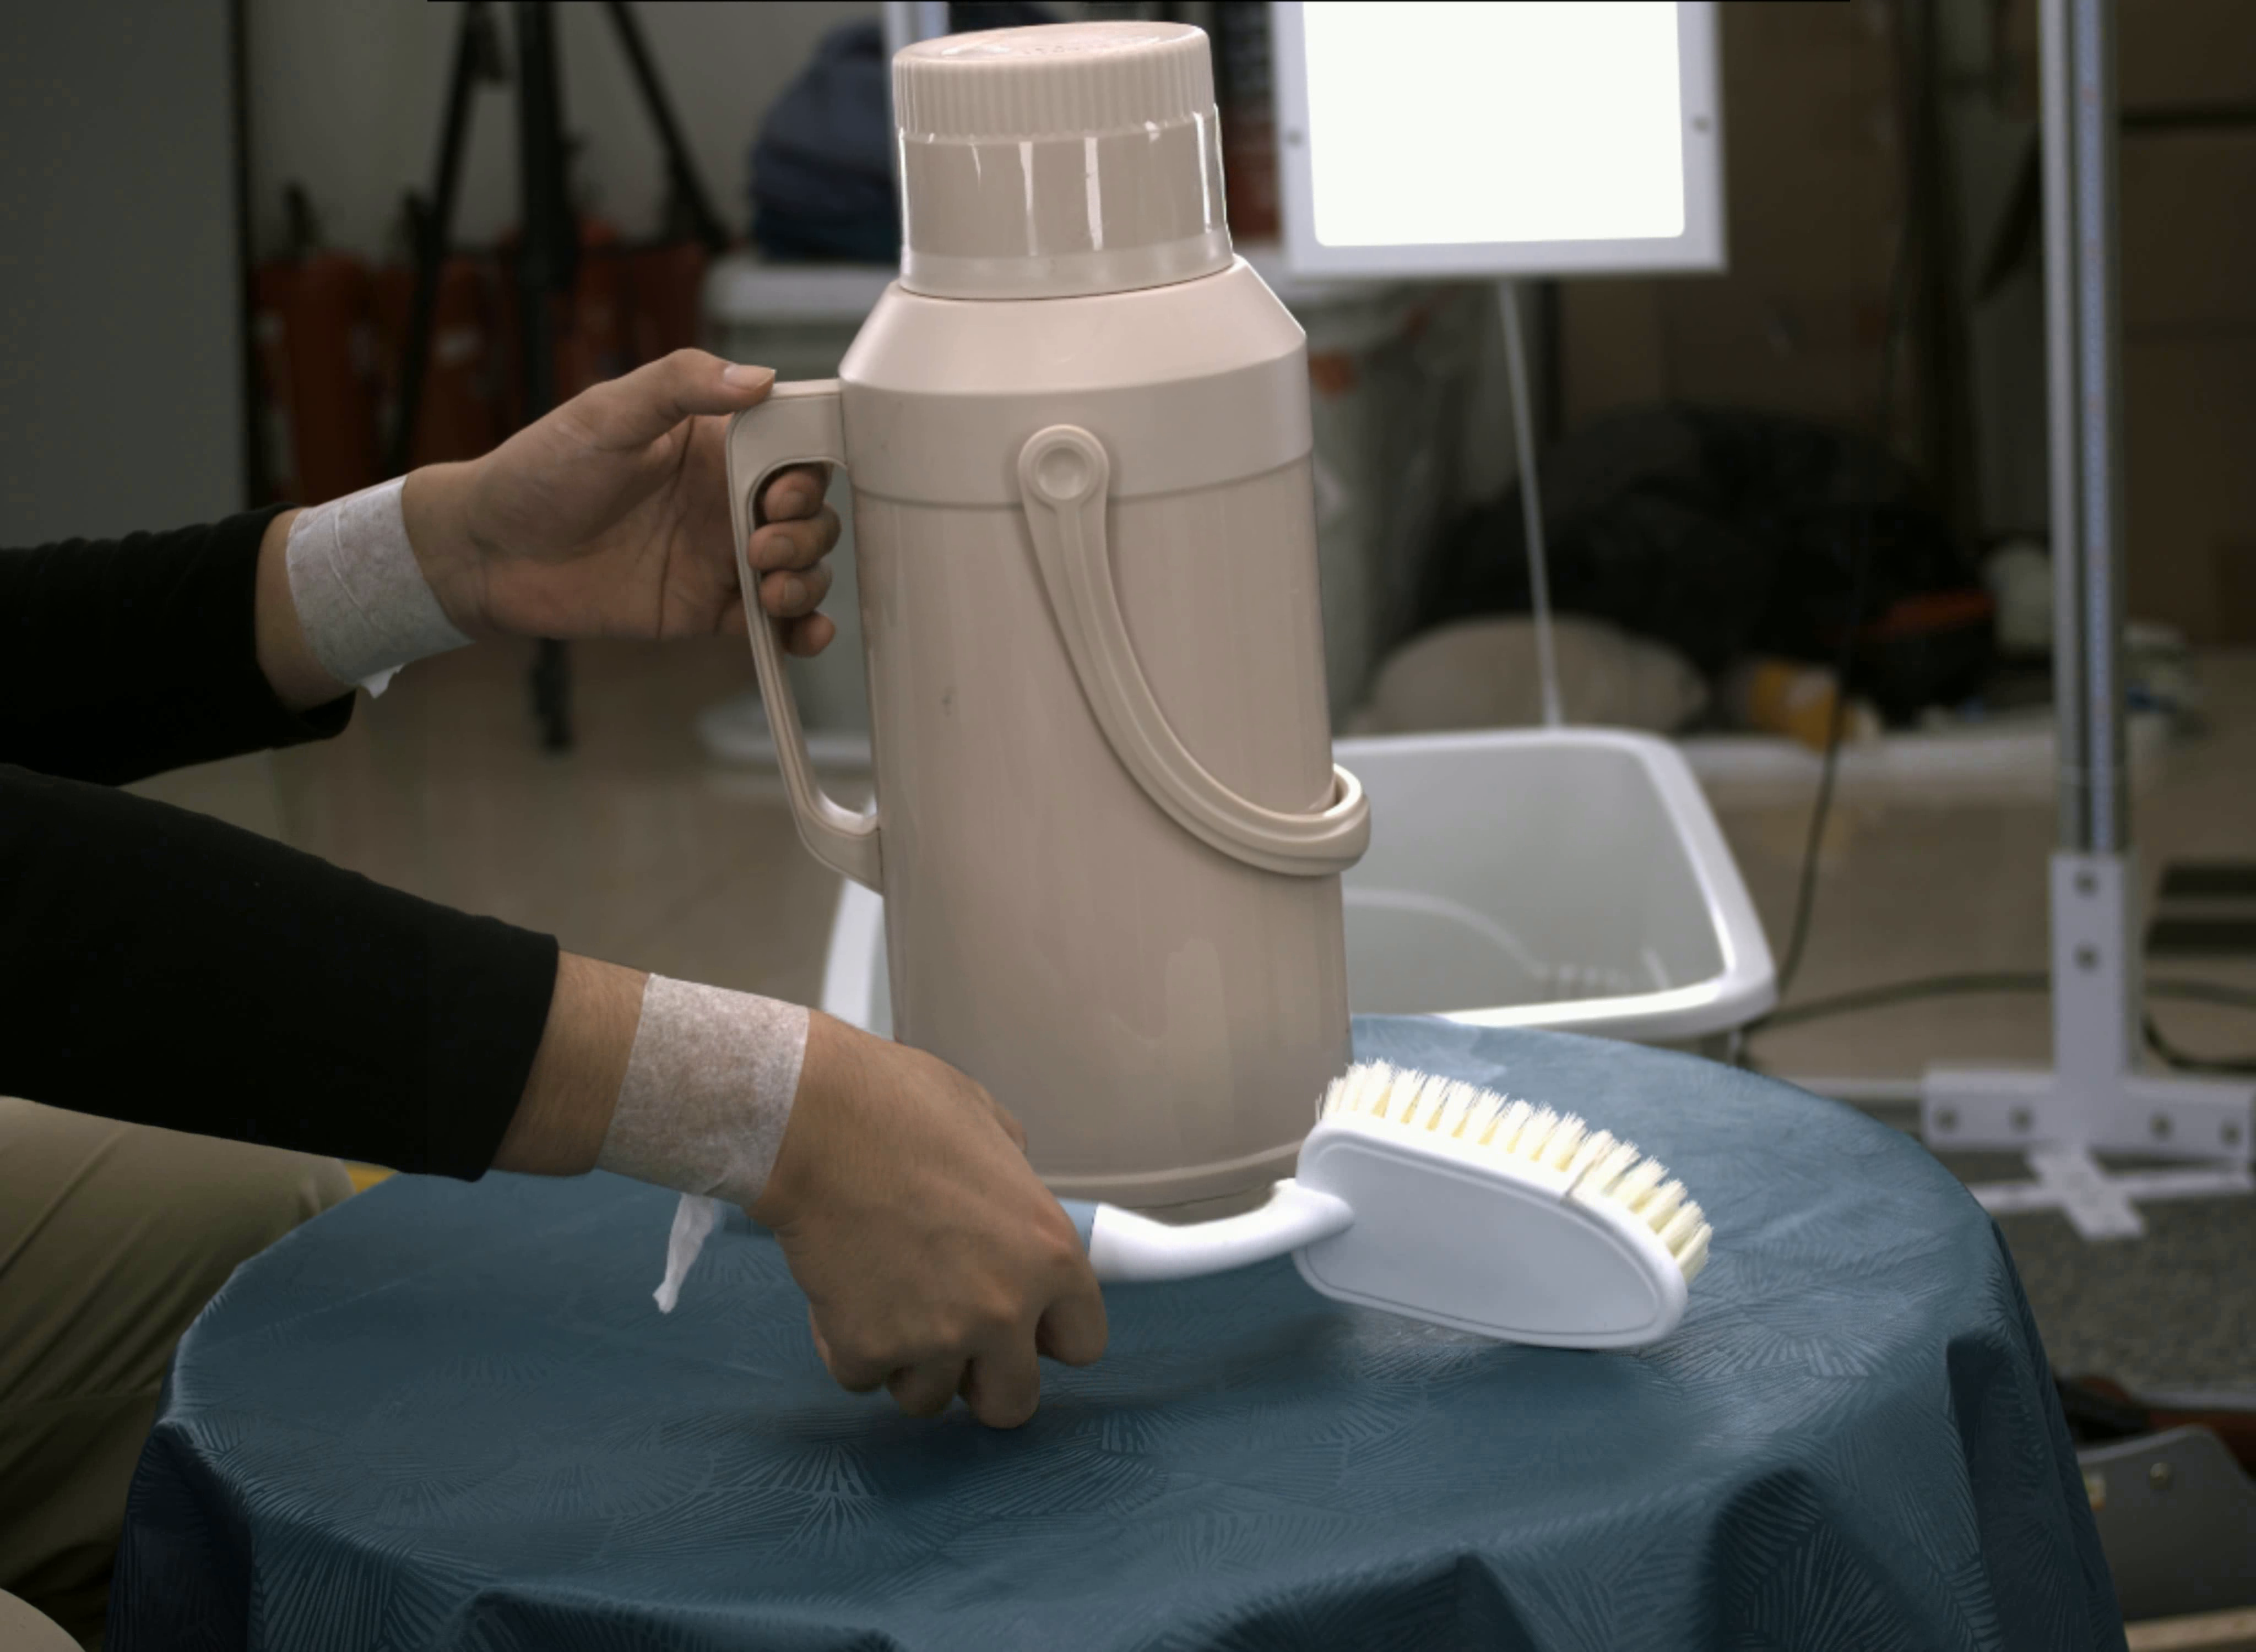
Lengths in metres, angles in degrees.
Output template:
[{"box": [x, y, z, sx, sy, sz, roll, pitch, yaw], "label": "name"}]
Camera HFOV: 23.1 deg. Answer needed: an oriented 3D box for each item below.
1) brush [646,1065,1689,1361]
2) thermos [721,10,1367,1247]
[{"box": [0.014, 0.109, 1.718, 0.326, 0.083, 0.084, 7, -3, 8], "label": "brush"}, {"box": [-0.027, -0.063, 1.845, 0.207, 0.408, 0.174, -3, 15, 4], "label": "thermos"}]
